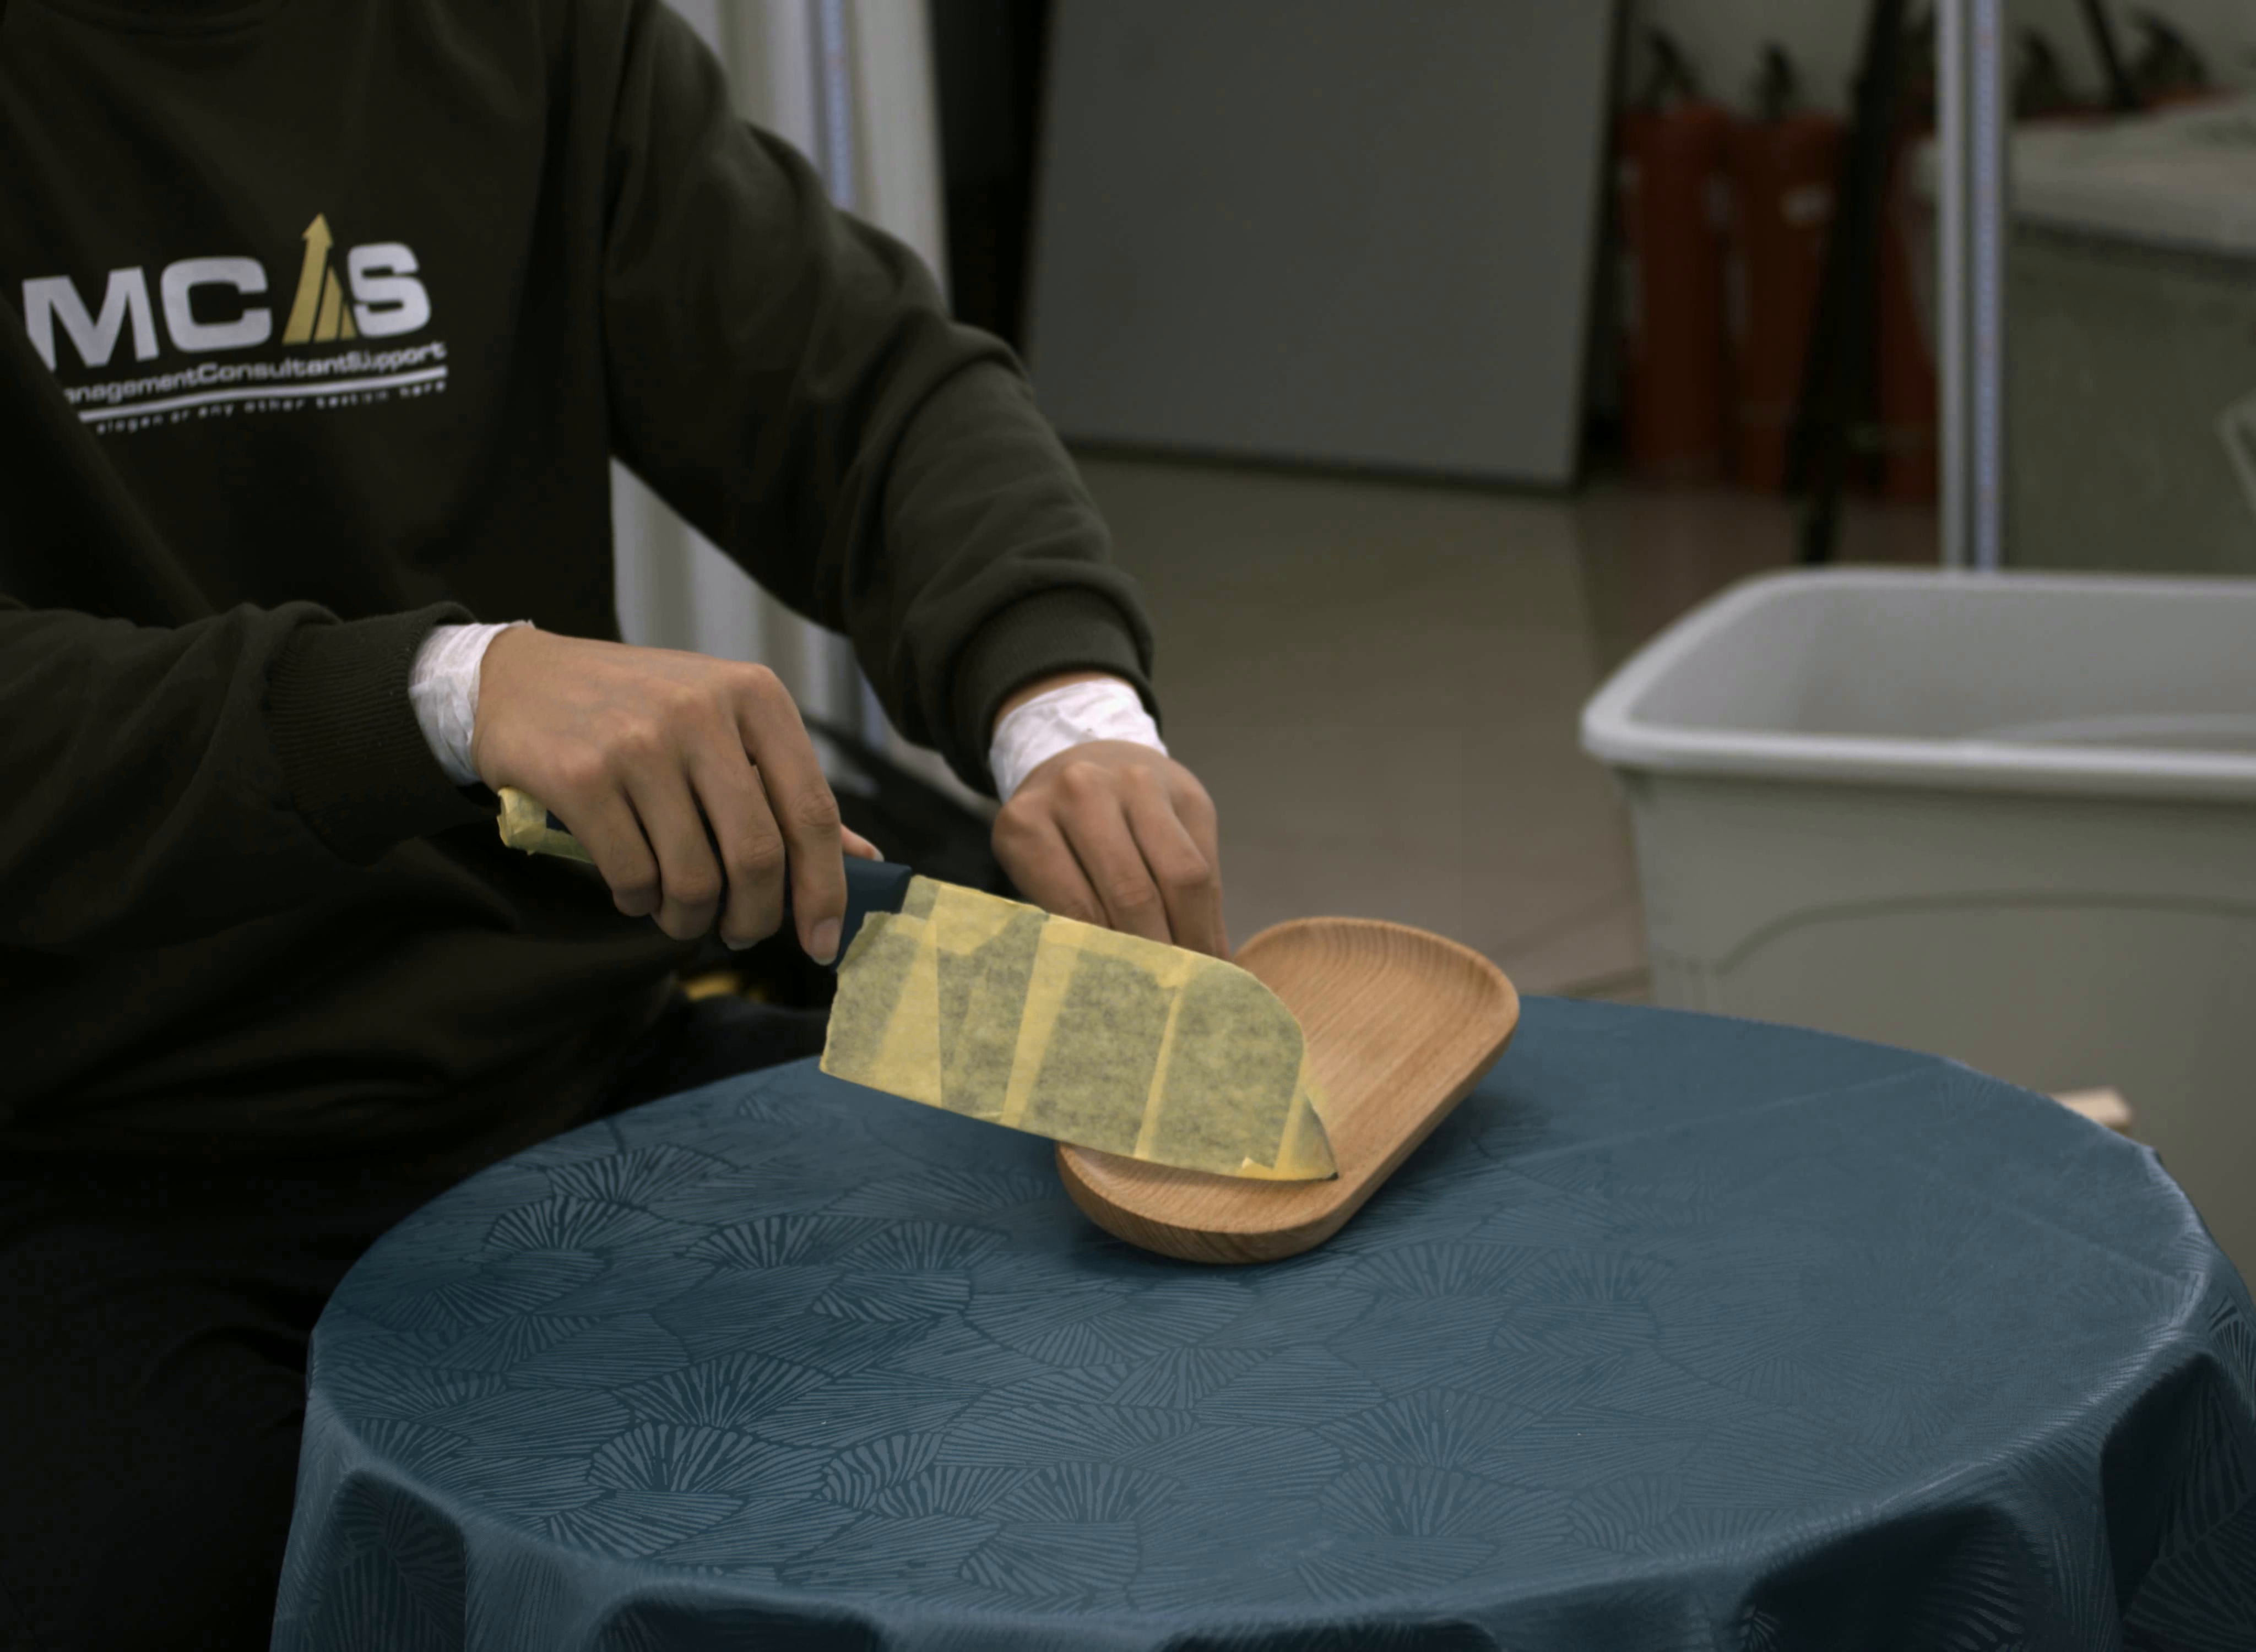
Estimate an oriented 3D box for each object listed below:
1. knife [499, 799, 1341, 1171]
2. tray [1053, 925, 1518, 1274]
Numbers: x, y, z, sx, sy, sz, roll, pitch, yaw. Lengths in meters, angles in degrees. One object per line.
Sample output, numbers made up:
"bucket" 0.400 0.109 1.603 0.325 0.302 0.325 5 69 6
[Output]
"knife" -0.067 0.050 1.725 0.286 0.081 0.027 18 -20 -1
"tray" 0.054 0.088 1.778 0.102 0.020 0.228 16 30 22
